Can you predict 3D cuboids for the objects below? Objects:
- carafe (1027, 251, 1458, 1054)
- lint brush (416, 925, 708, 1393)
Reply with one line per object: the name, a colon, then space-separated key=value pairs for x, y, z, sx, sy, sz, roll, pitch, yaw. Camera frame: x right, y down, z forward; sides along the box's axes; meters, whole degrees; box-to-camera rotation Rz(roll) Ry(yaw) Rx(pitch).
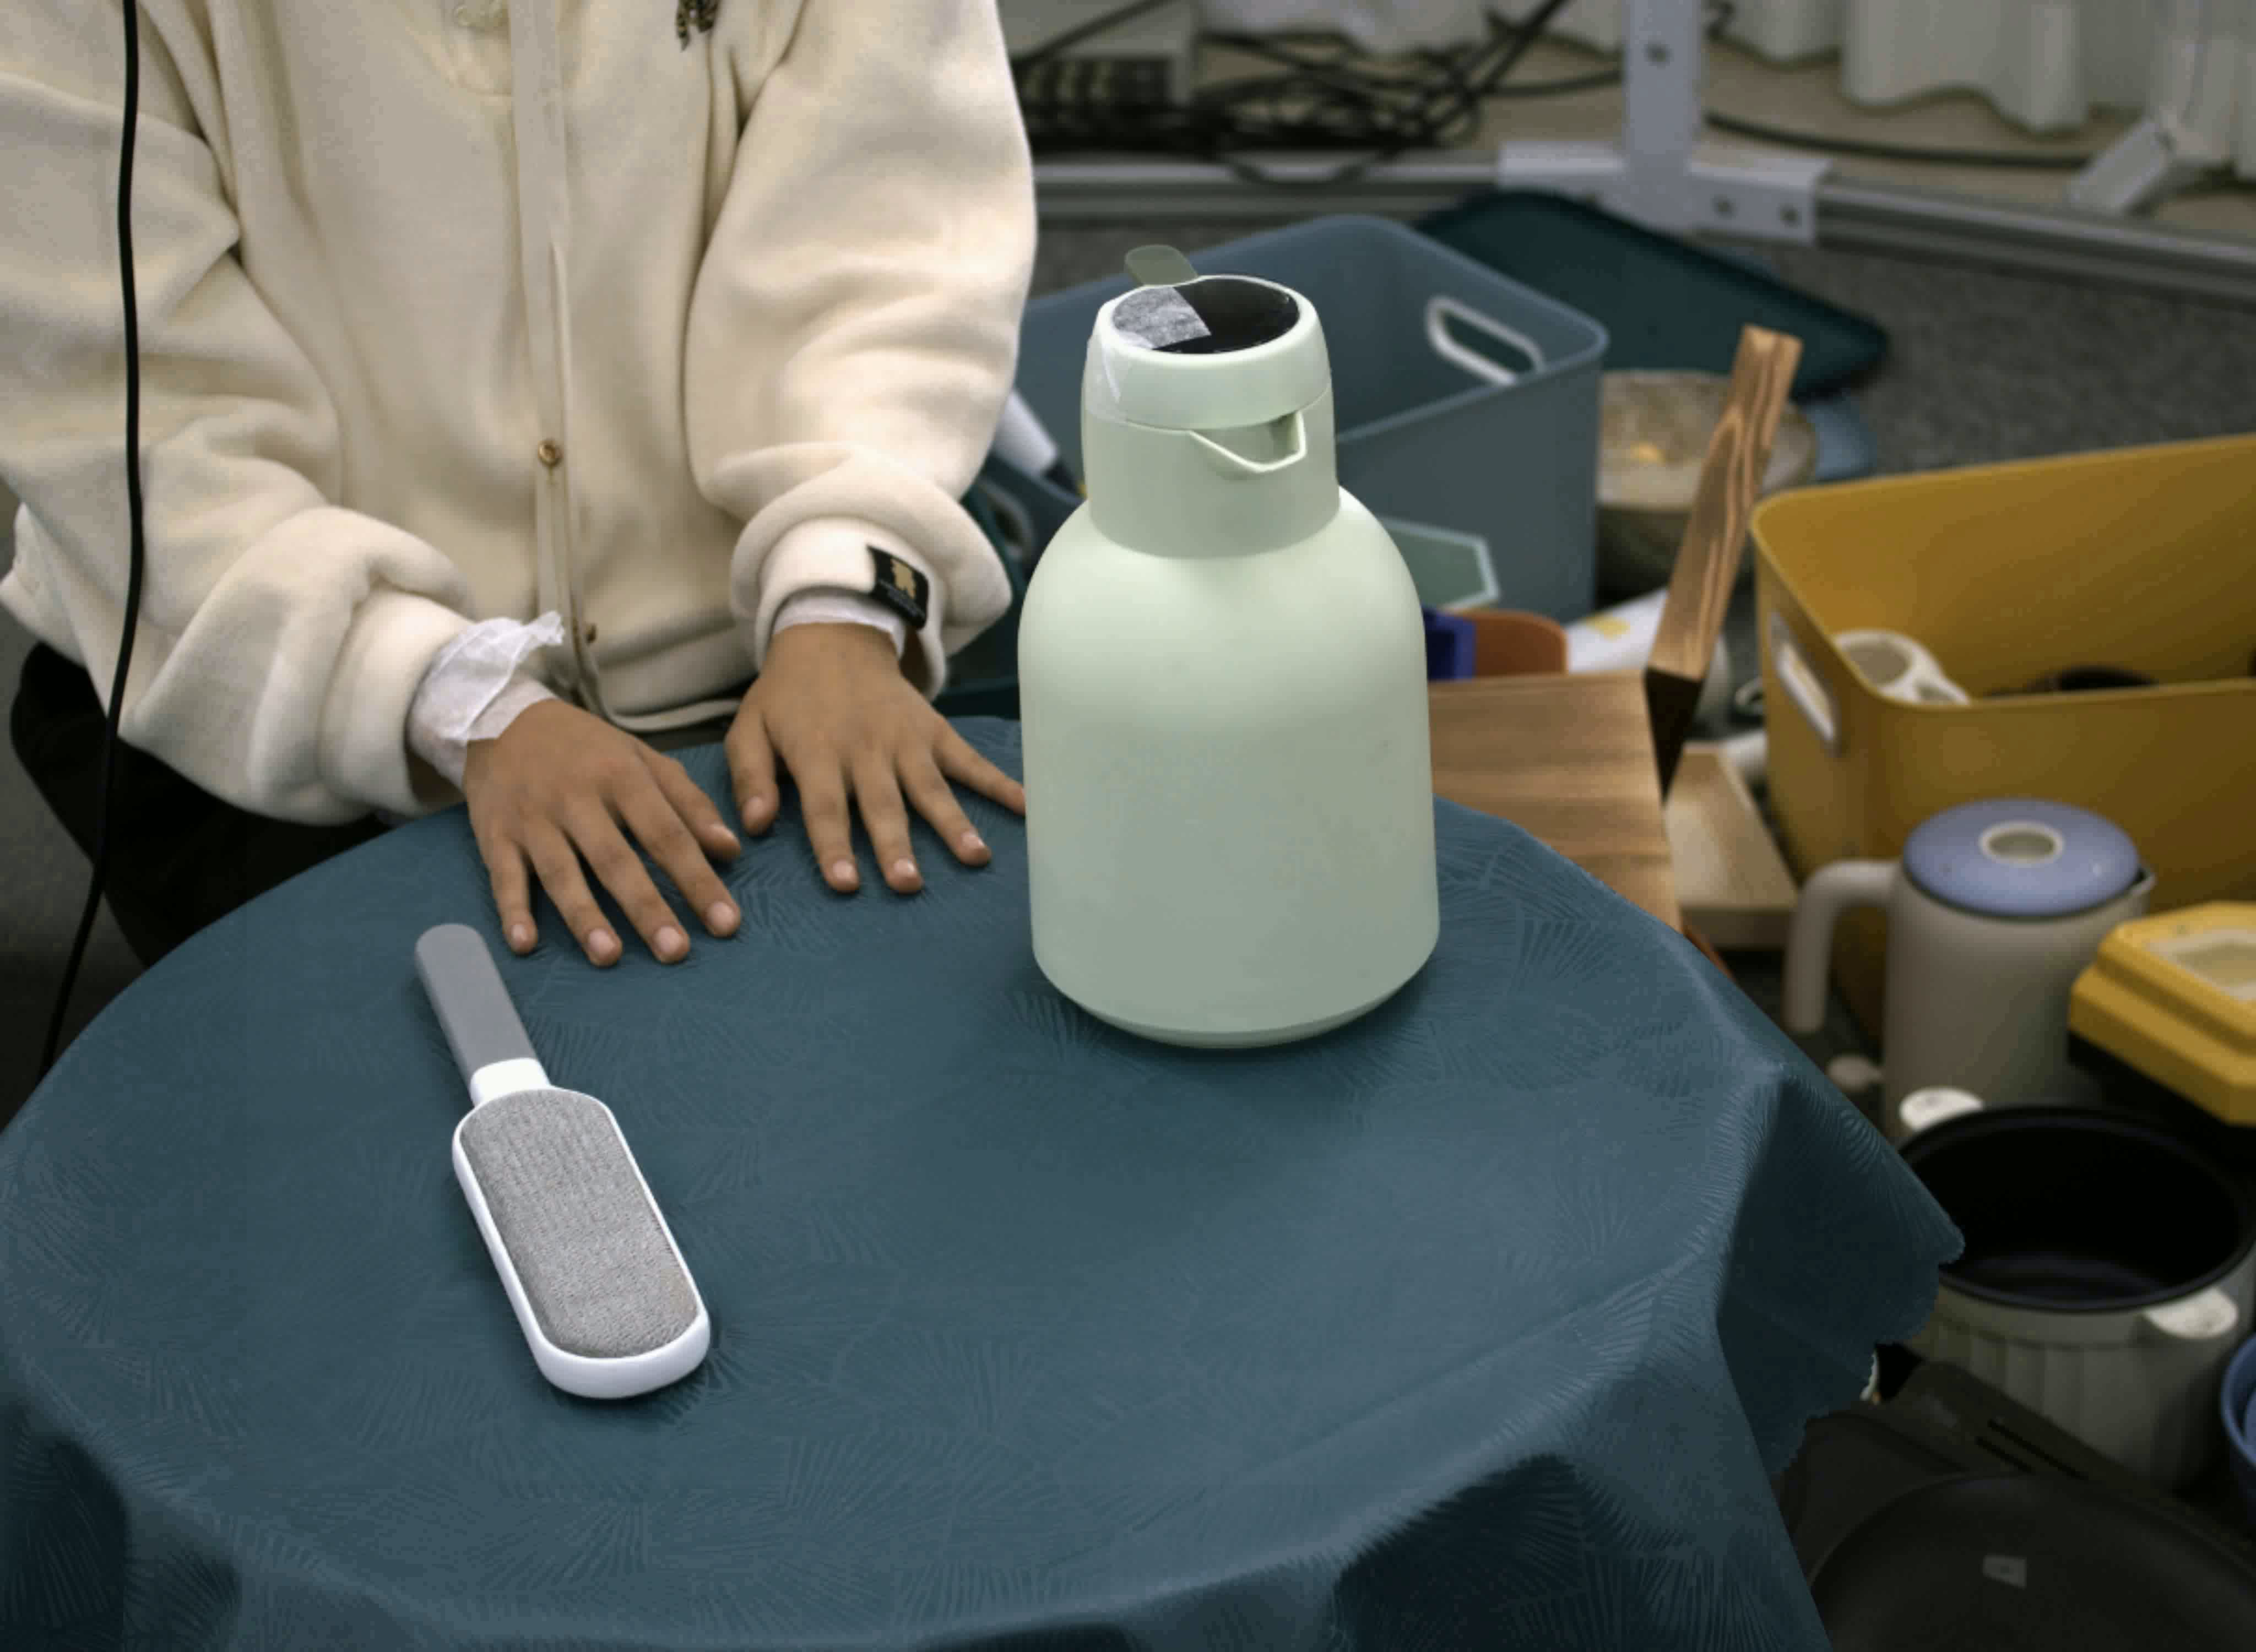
carafe: x=0.031 y=-0.066 z=1.954 sx=0.144 sy=0.254 sz=0.188 roll=-12 pitch=24 yaw=-14
lint brush: x=-0.198 y=0.107 z=1.884 sx=0.060 sy=0.021 sz=0.312 roll=-12 pitch=28 yaw=-13
